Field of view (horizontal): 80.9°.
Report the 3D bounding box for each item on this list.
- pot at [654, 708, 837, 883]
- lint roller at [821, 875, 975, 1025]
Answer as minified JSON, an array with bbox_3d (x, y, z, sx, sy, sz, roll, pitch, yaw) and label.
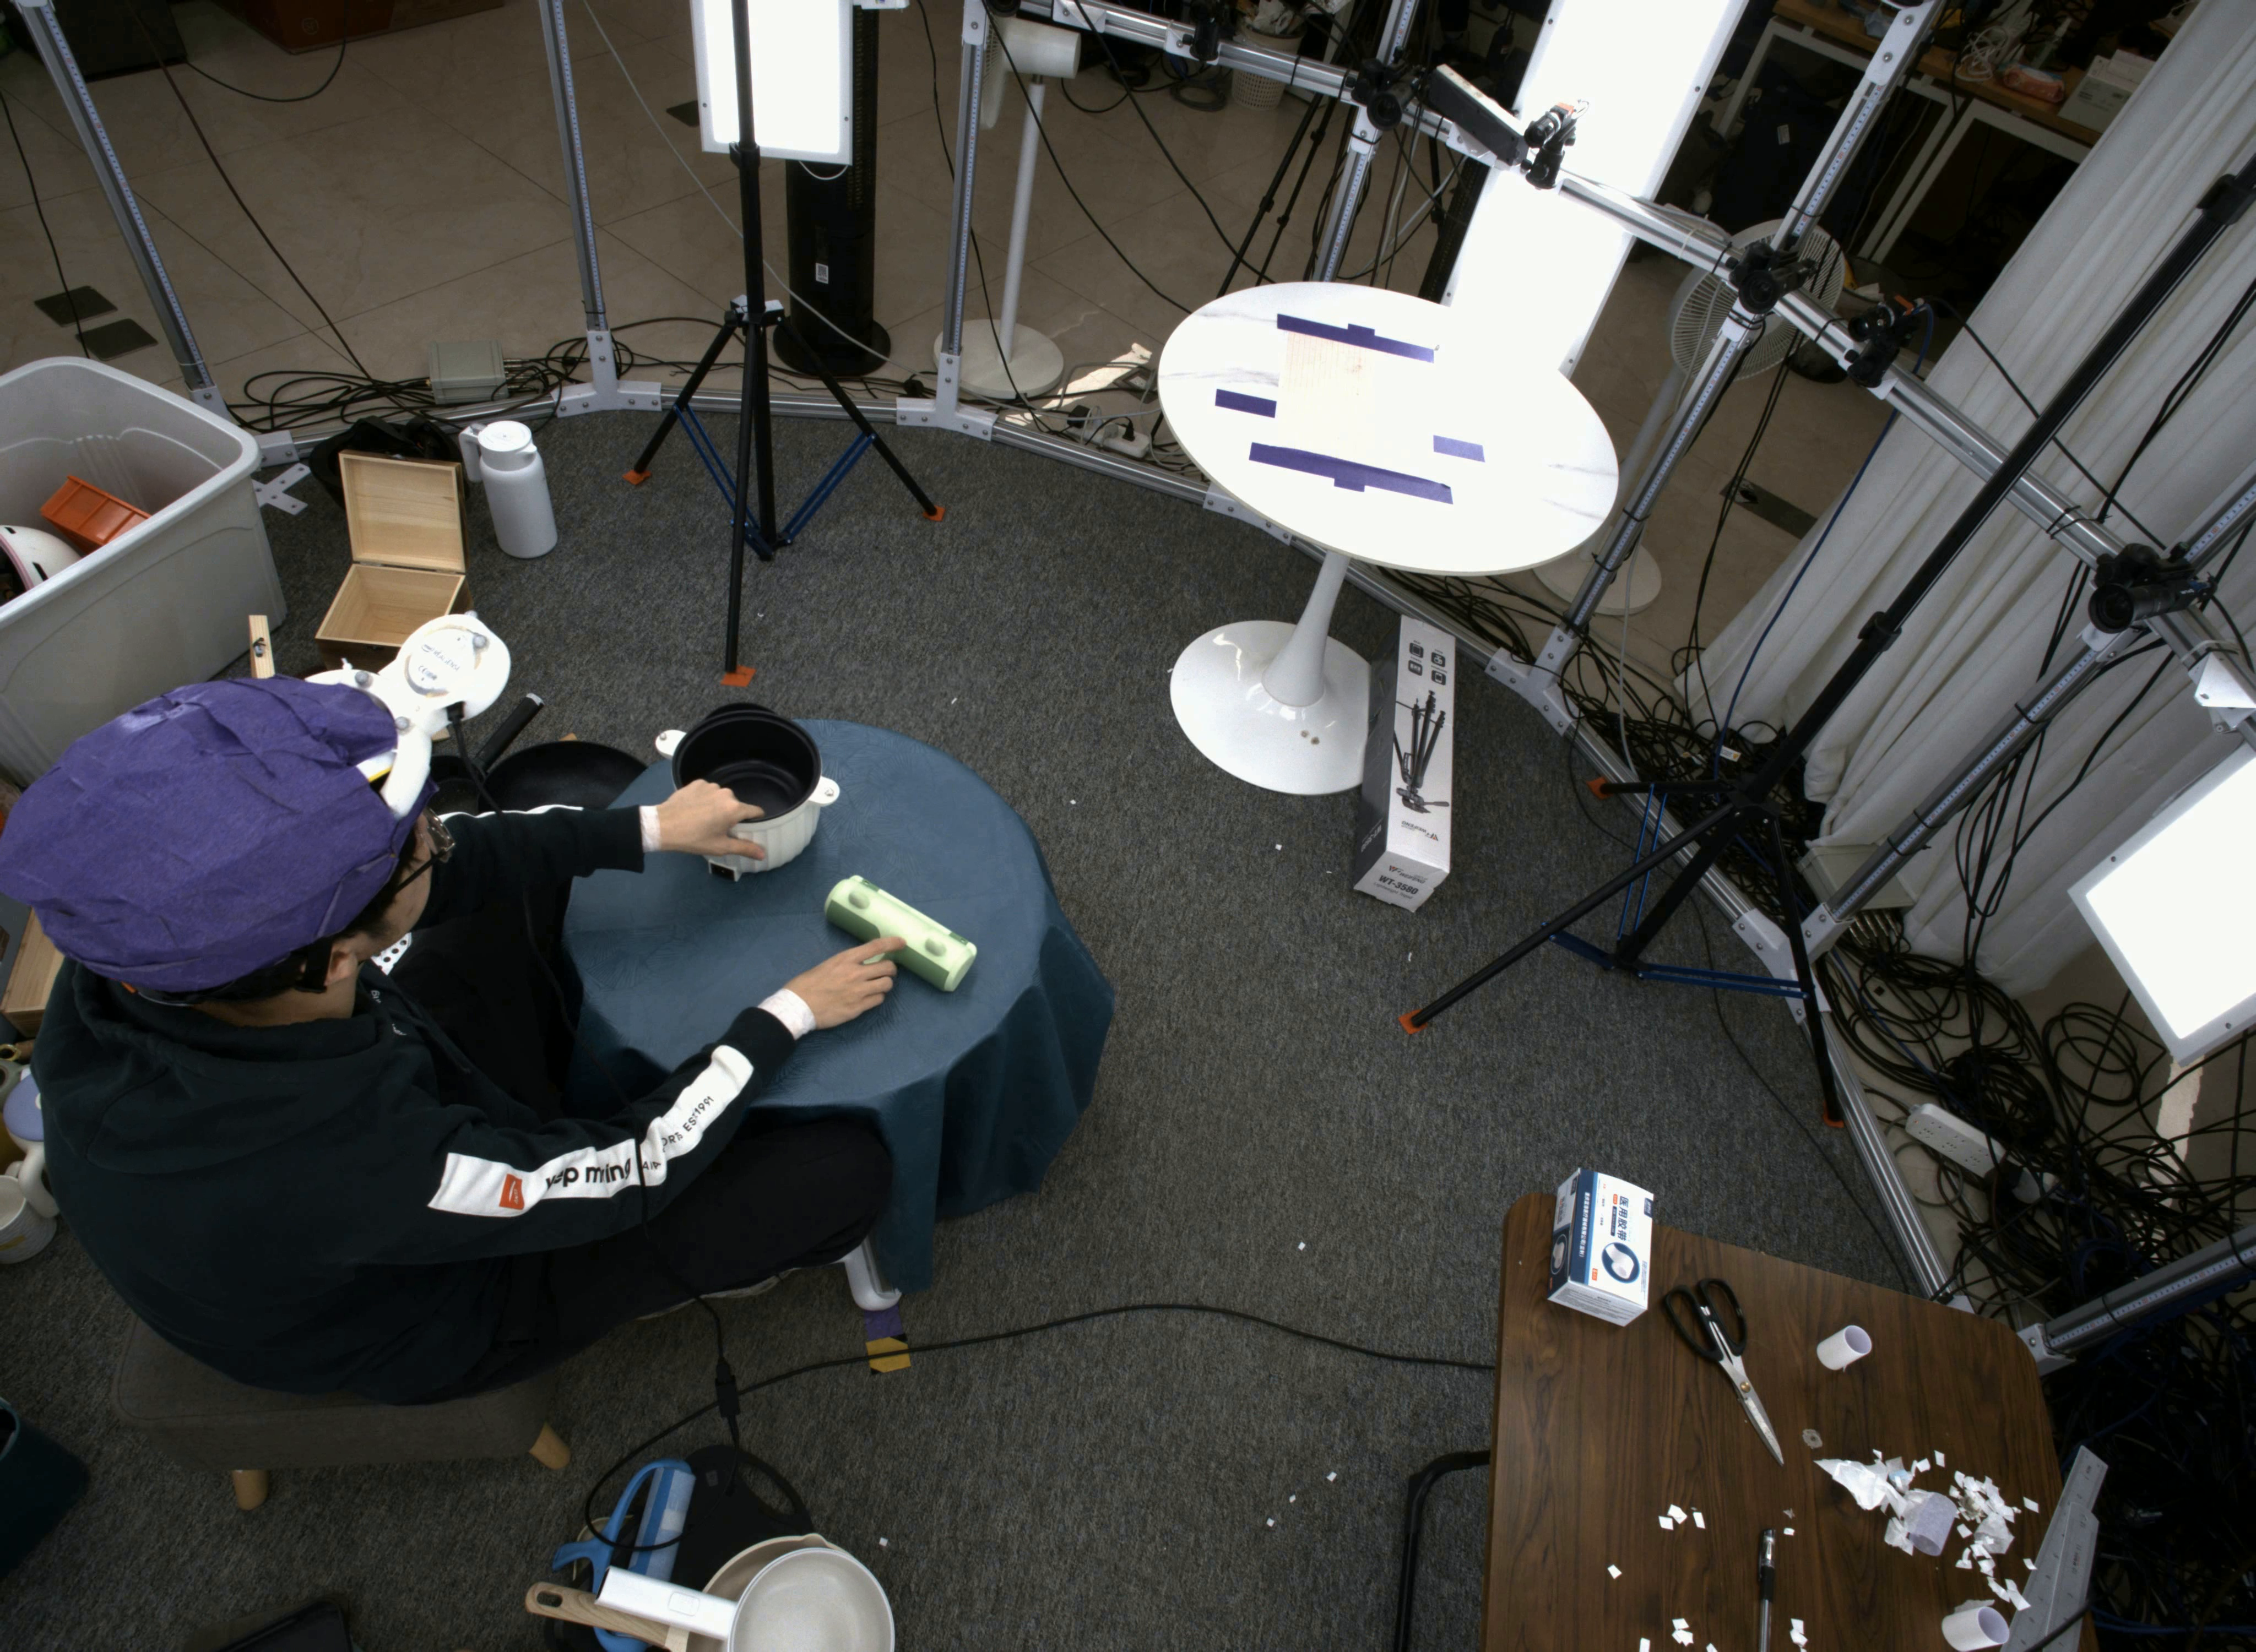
[{"bbox_3d":[-0.486,-0.042,1.656,0.239,0.145,0.188,18,54,-2],"label":"pot"},{"bbox_3d":[-0.314,0.160,1.592,0.195,0.084,0.183,31,47,9],"label":"lint roller"}]
